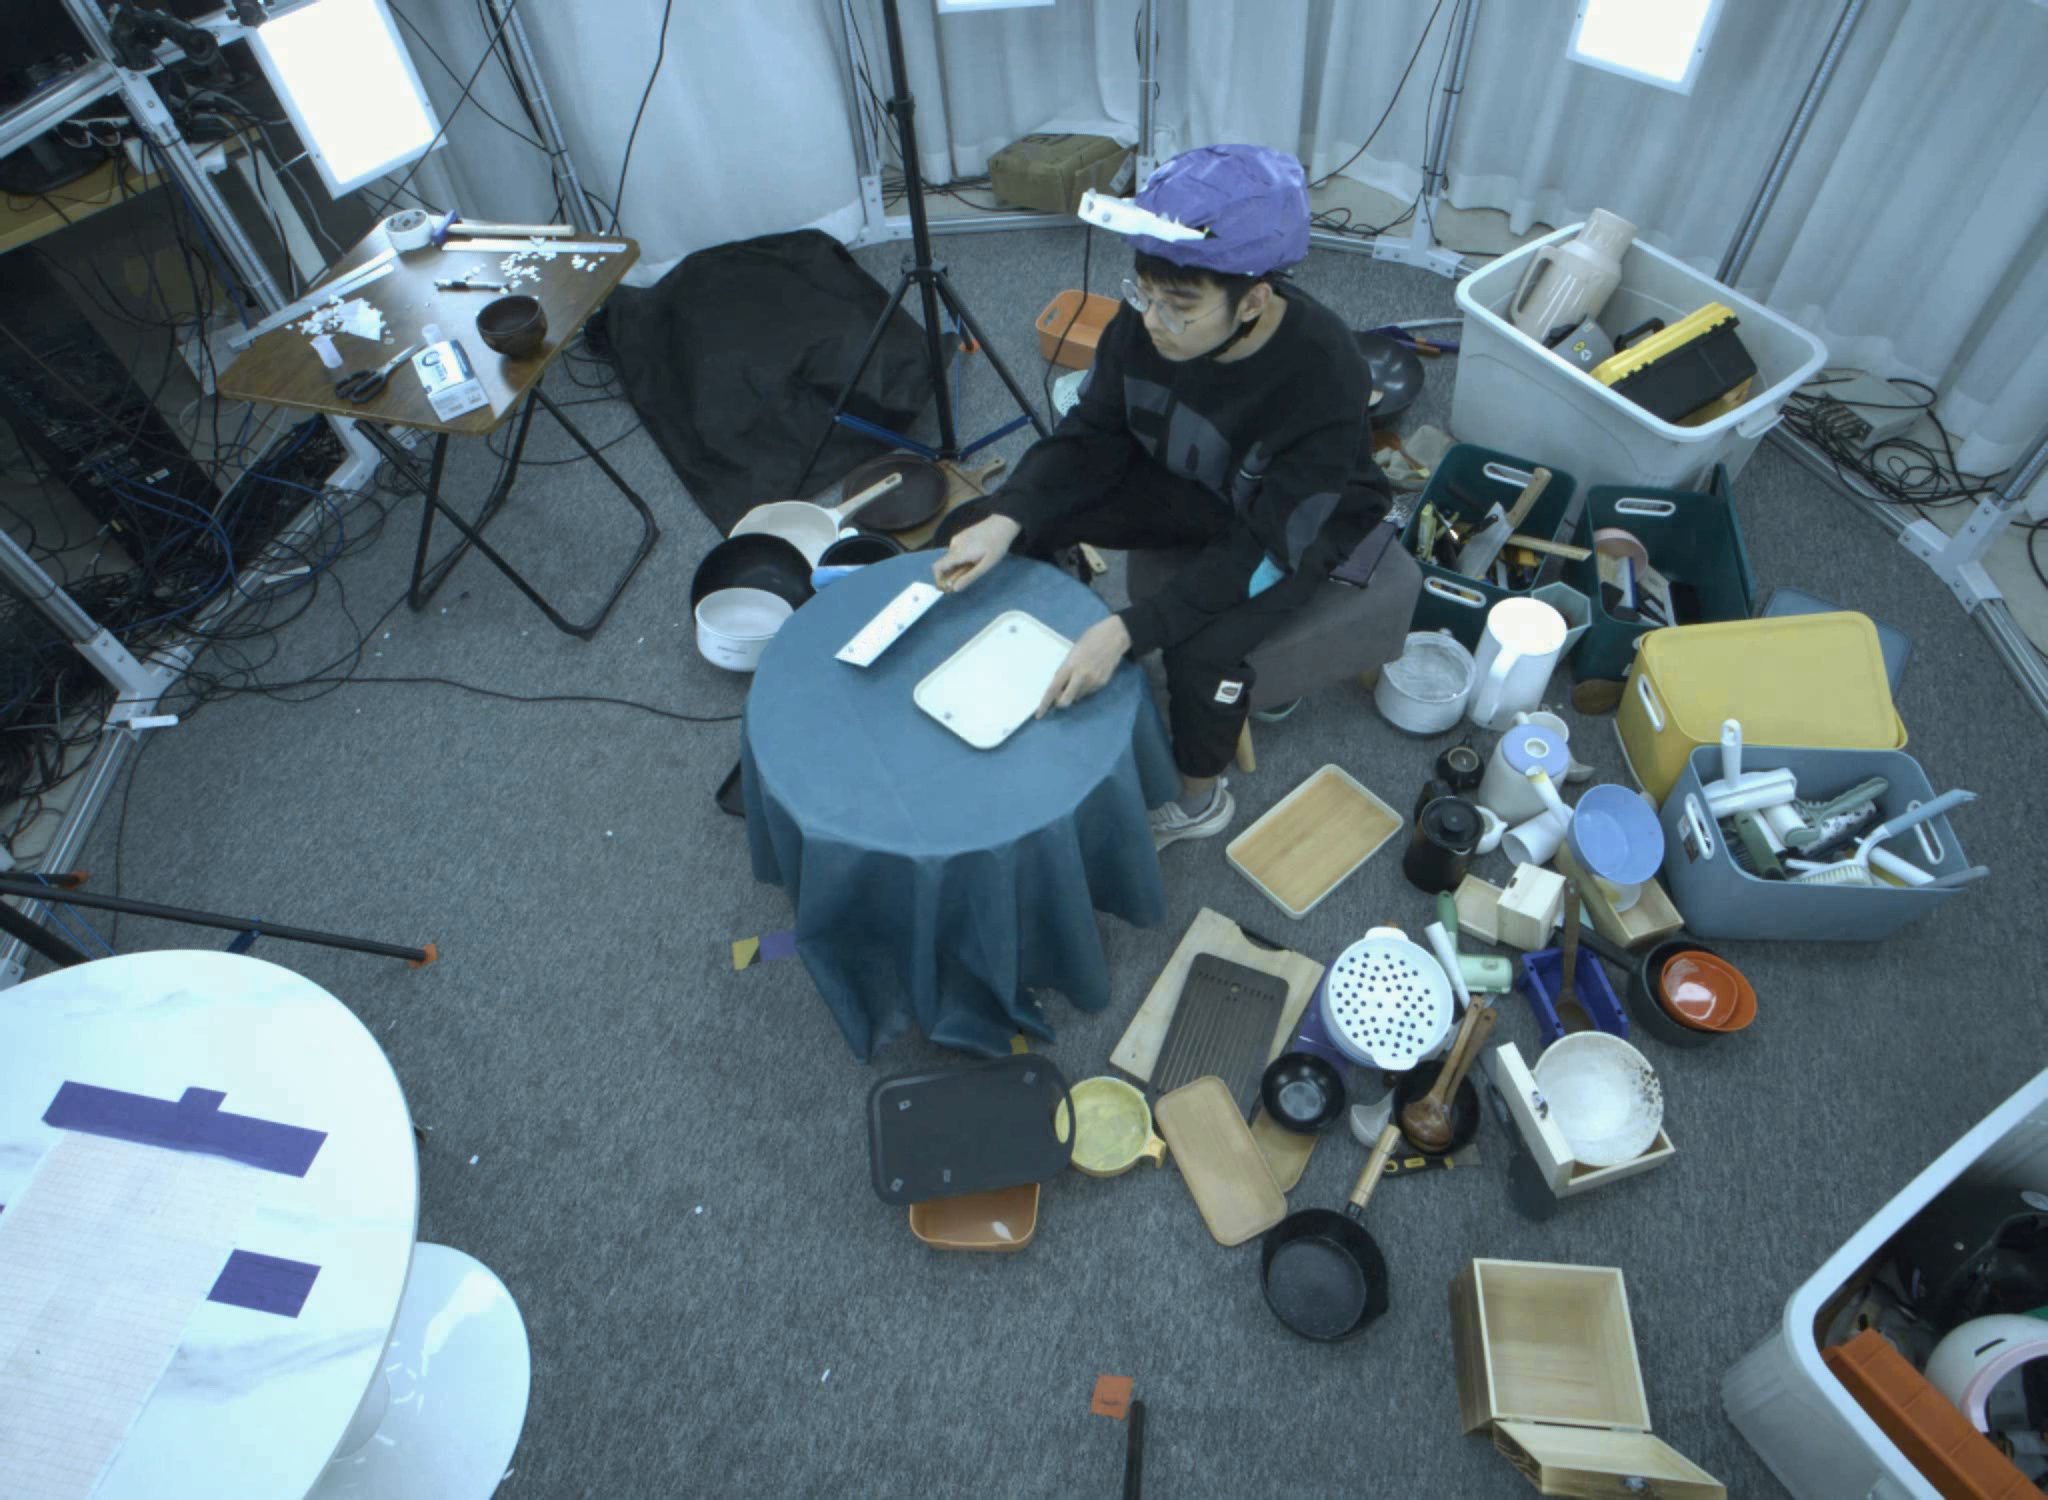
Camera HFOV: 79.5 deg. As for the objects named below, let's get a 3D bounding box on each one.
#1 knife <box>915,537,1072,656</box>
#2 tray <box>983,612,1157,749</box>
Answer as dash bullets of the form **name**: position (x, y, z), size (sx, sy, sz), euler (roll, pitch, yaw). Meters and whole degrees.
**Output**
- **knife**: position (-0.052, -0.245, 1.930), size (0.307, 0.021, 0.091), euler (-43, 38, -22)
- **tray**: position (0.070, -0.106, 1.847), size (0.241, 0.017, 0.168), euler (-38, 61, -22)
